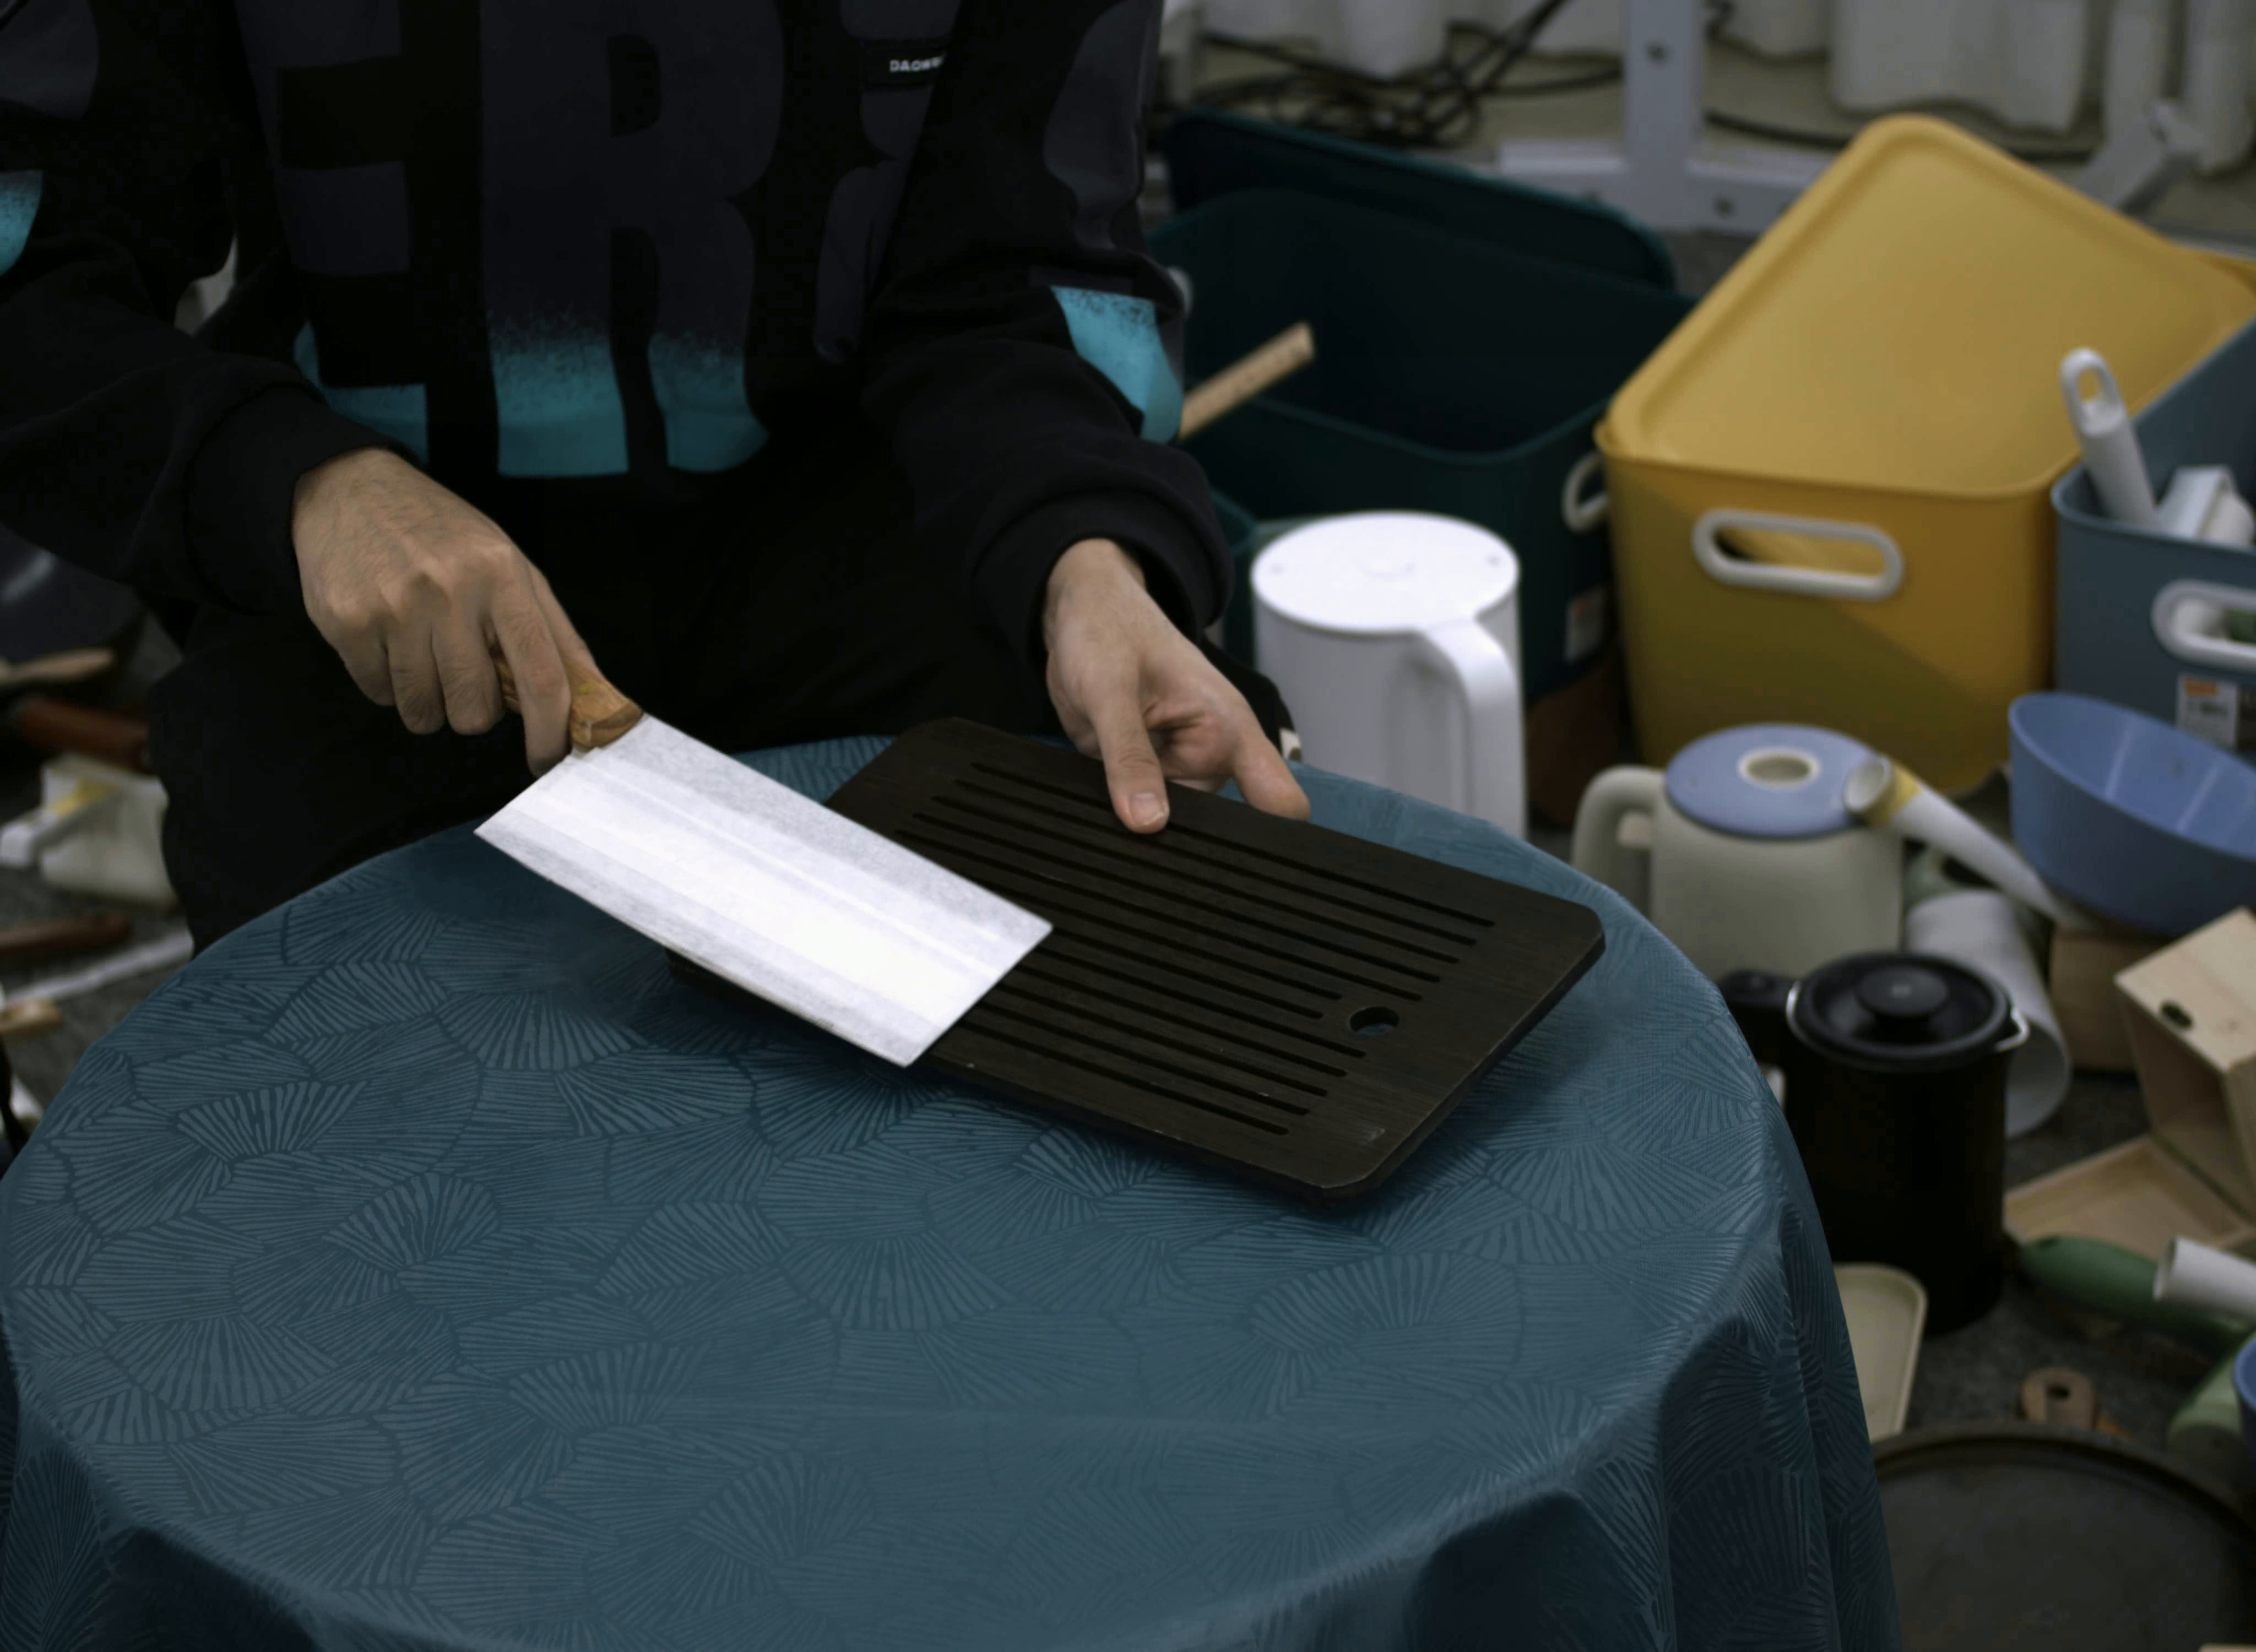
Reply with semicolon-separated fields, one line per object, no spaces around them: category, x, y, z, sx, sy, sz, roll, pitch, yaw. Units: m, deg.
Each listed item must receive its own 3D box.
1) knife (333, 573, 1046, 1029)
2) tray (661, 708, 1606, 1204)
knife;-0.174;-0.006;2.000;0.305;0.020;0.094;27;46;22
tray;0.000;0.043;1.968;0.305;0.018;0.173;18;42;33
